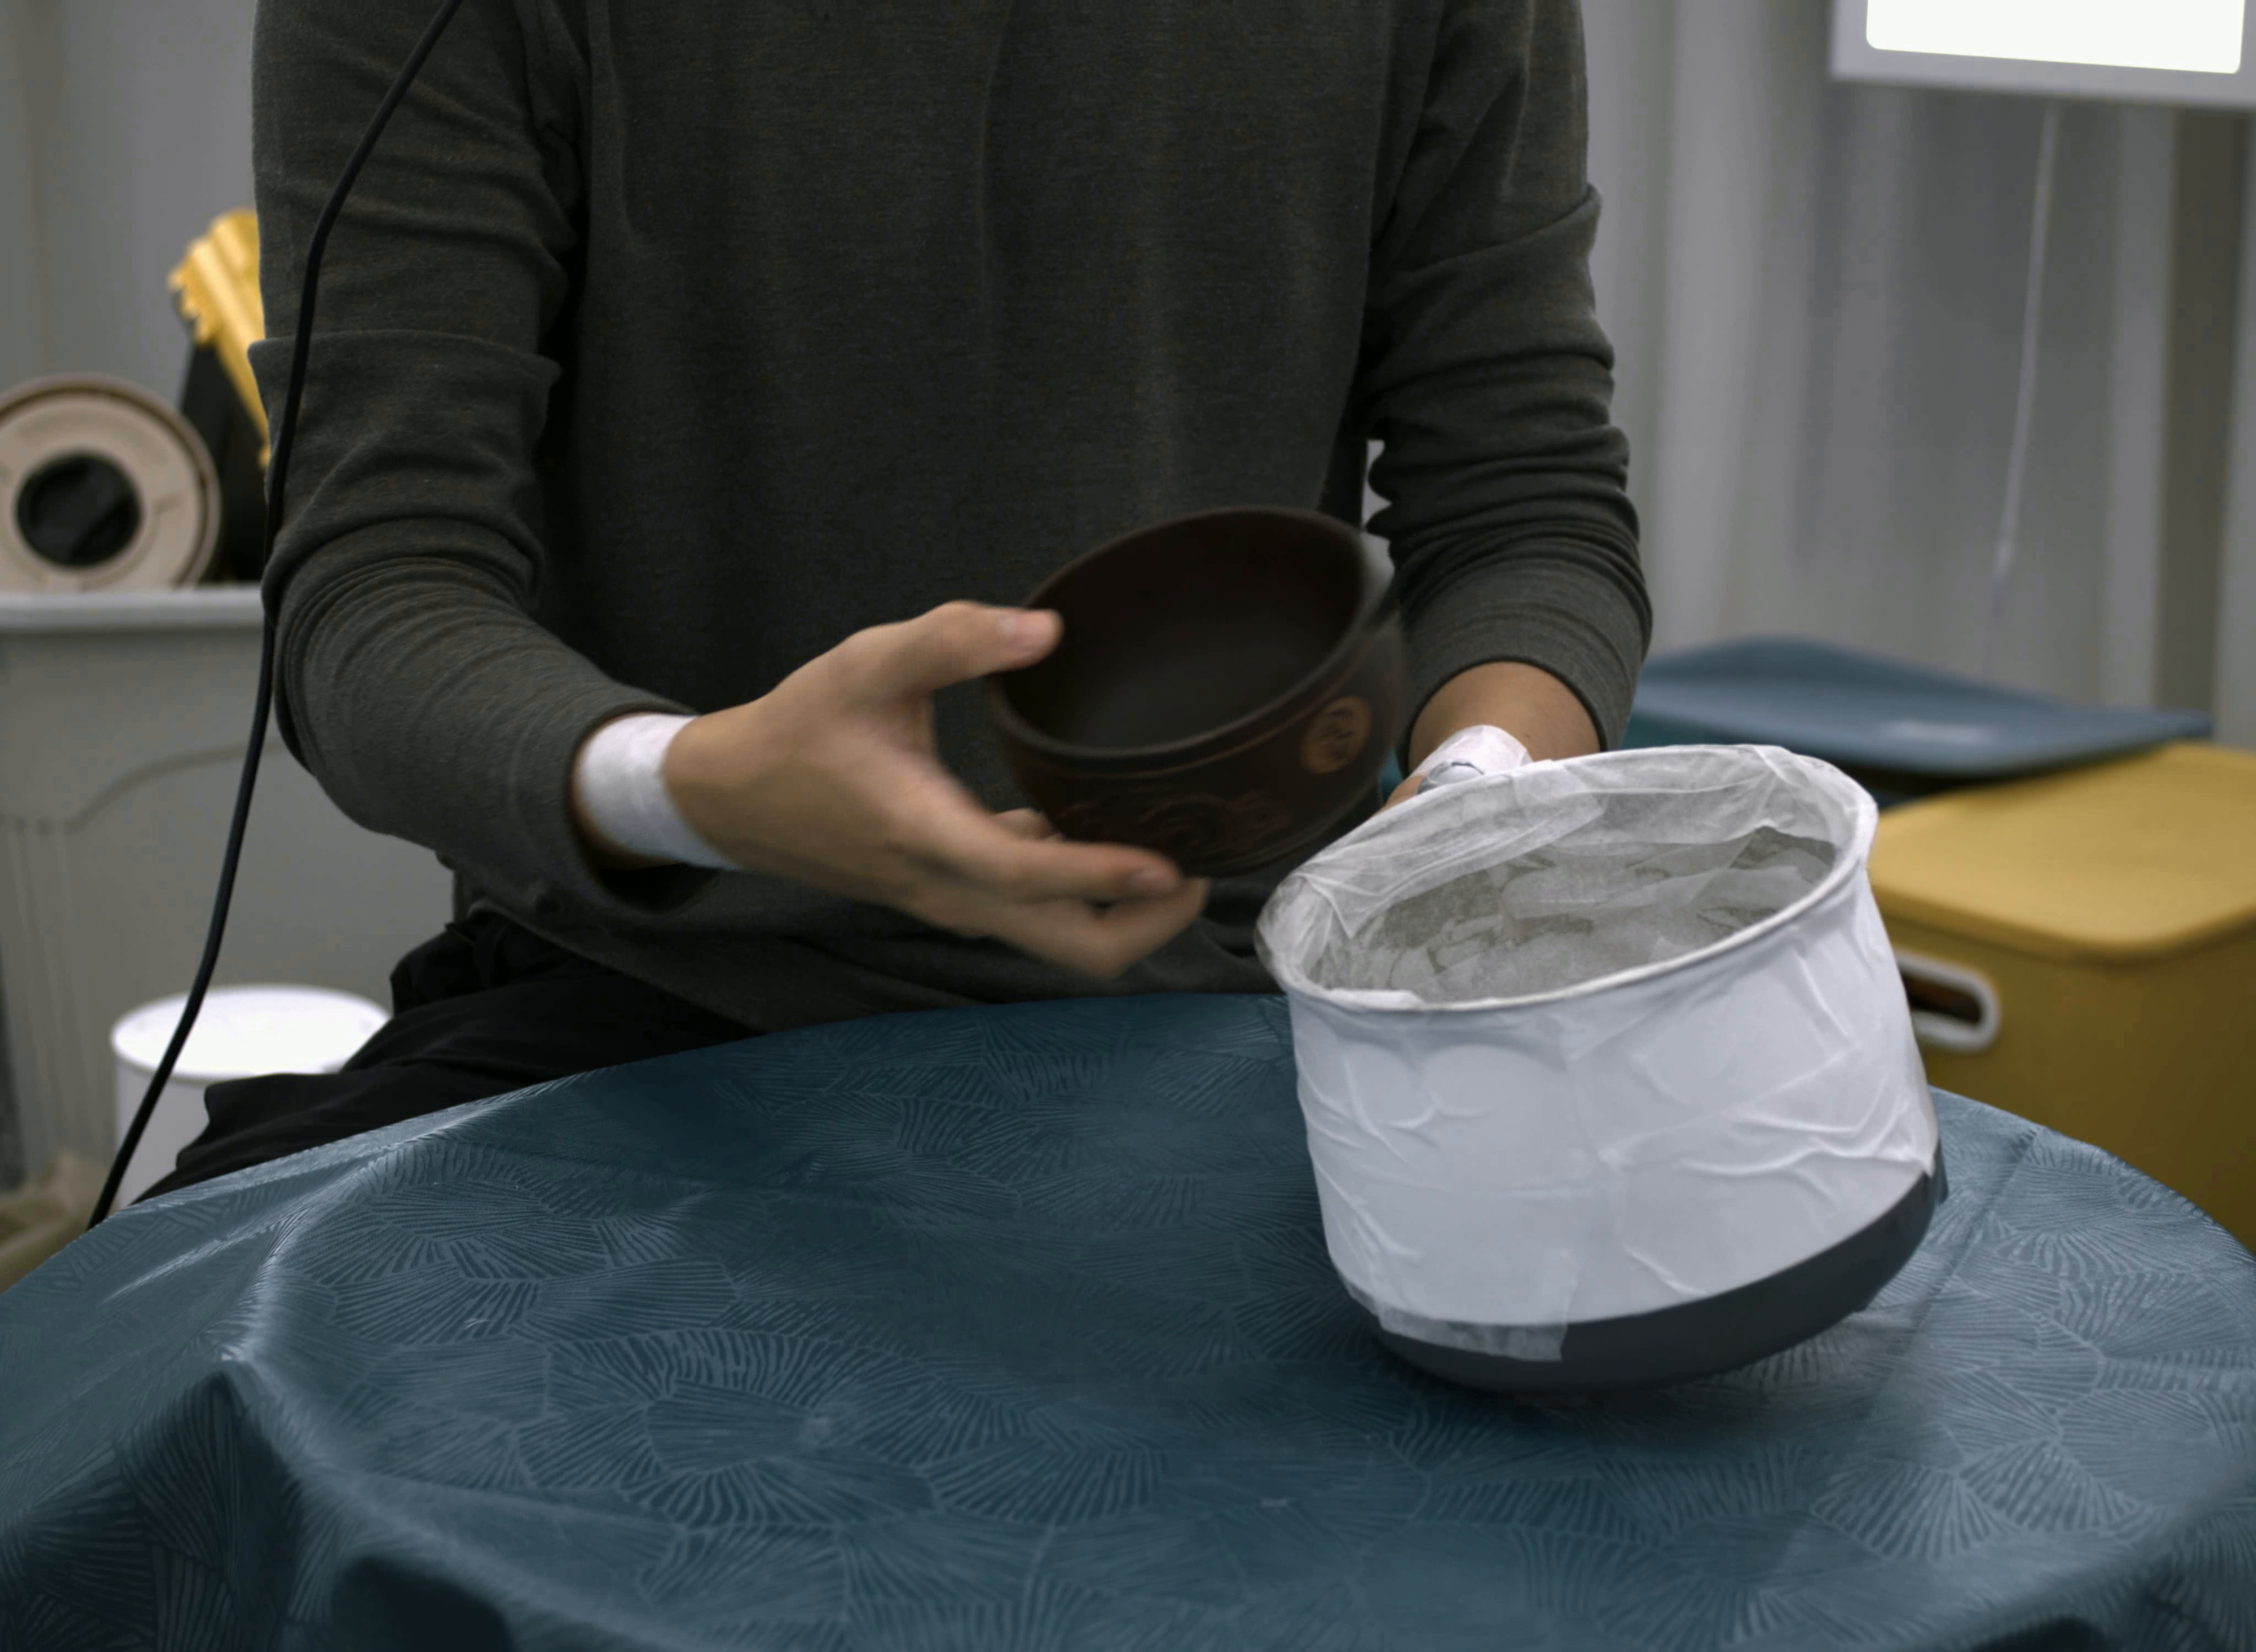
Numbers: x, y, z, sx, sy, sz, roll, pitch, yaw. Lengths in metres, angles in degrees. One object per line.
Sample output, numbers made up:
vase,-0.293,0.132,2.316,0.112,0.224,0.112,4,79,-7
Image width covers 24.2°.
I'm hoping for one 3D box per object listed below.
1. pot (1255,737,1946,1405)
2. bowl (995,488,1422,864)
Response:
pot,0.127,0.061,1.505,0.178,0.138,0.231,-17,21,-11
bowl,0.027,-0.033,1.470,0.117,0.071,0.117,-15,34,11
